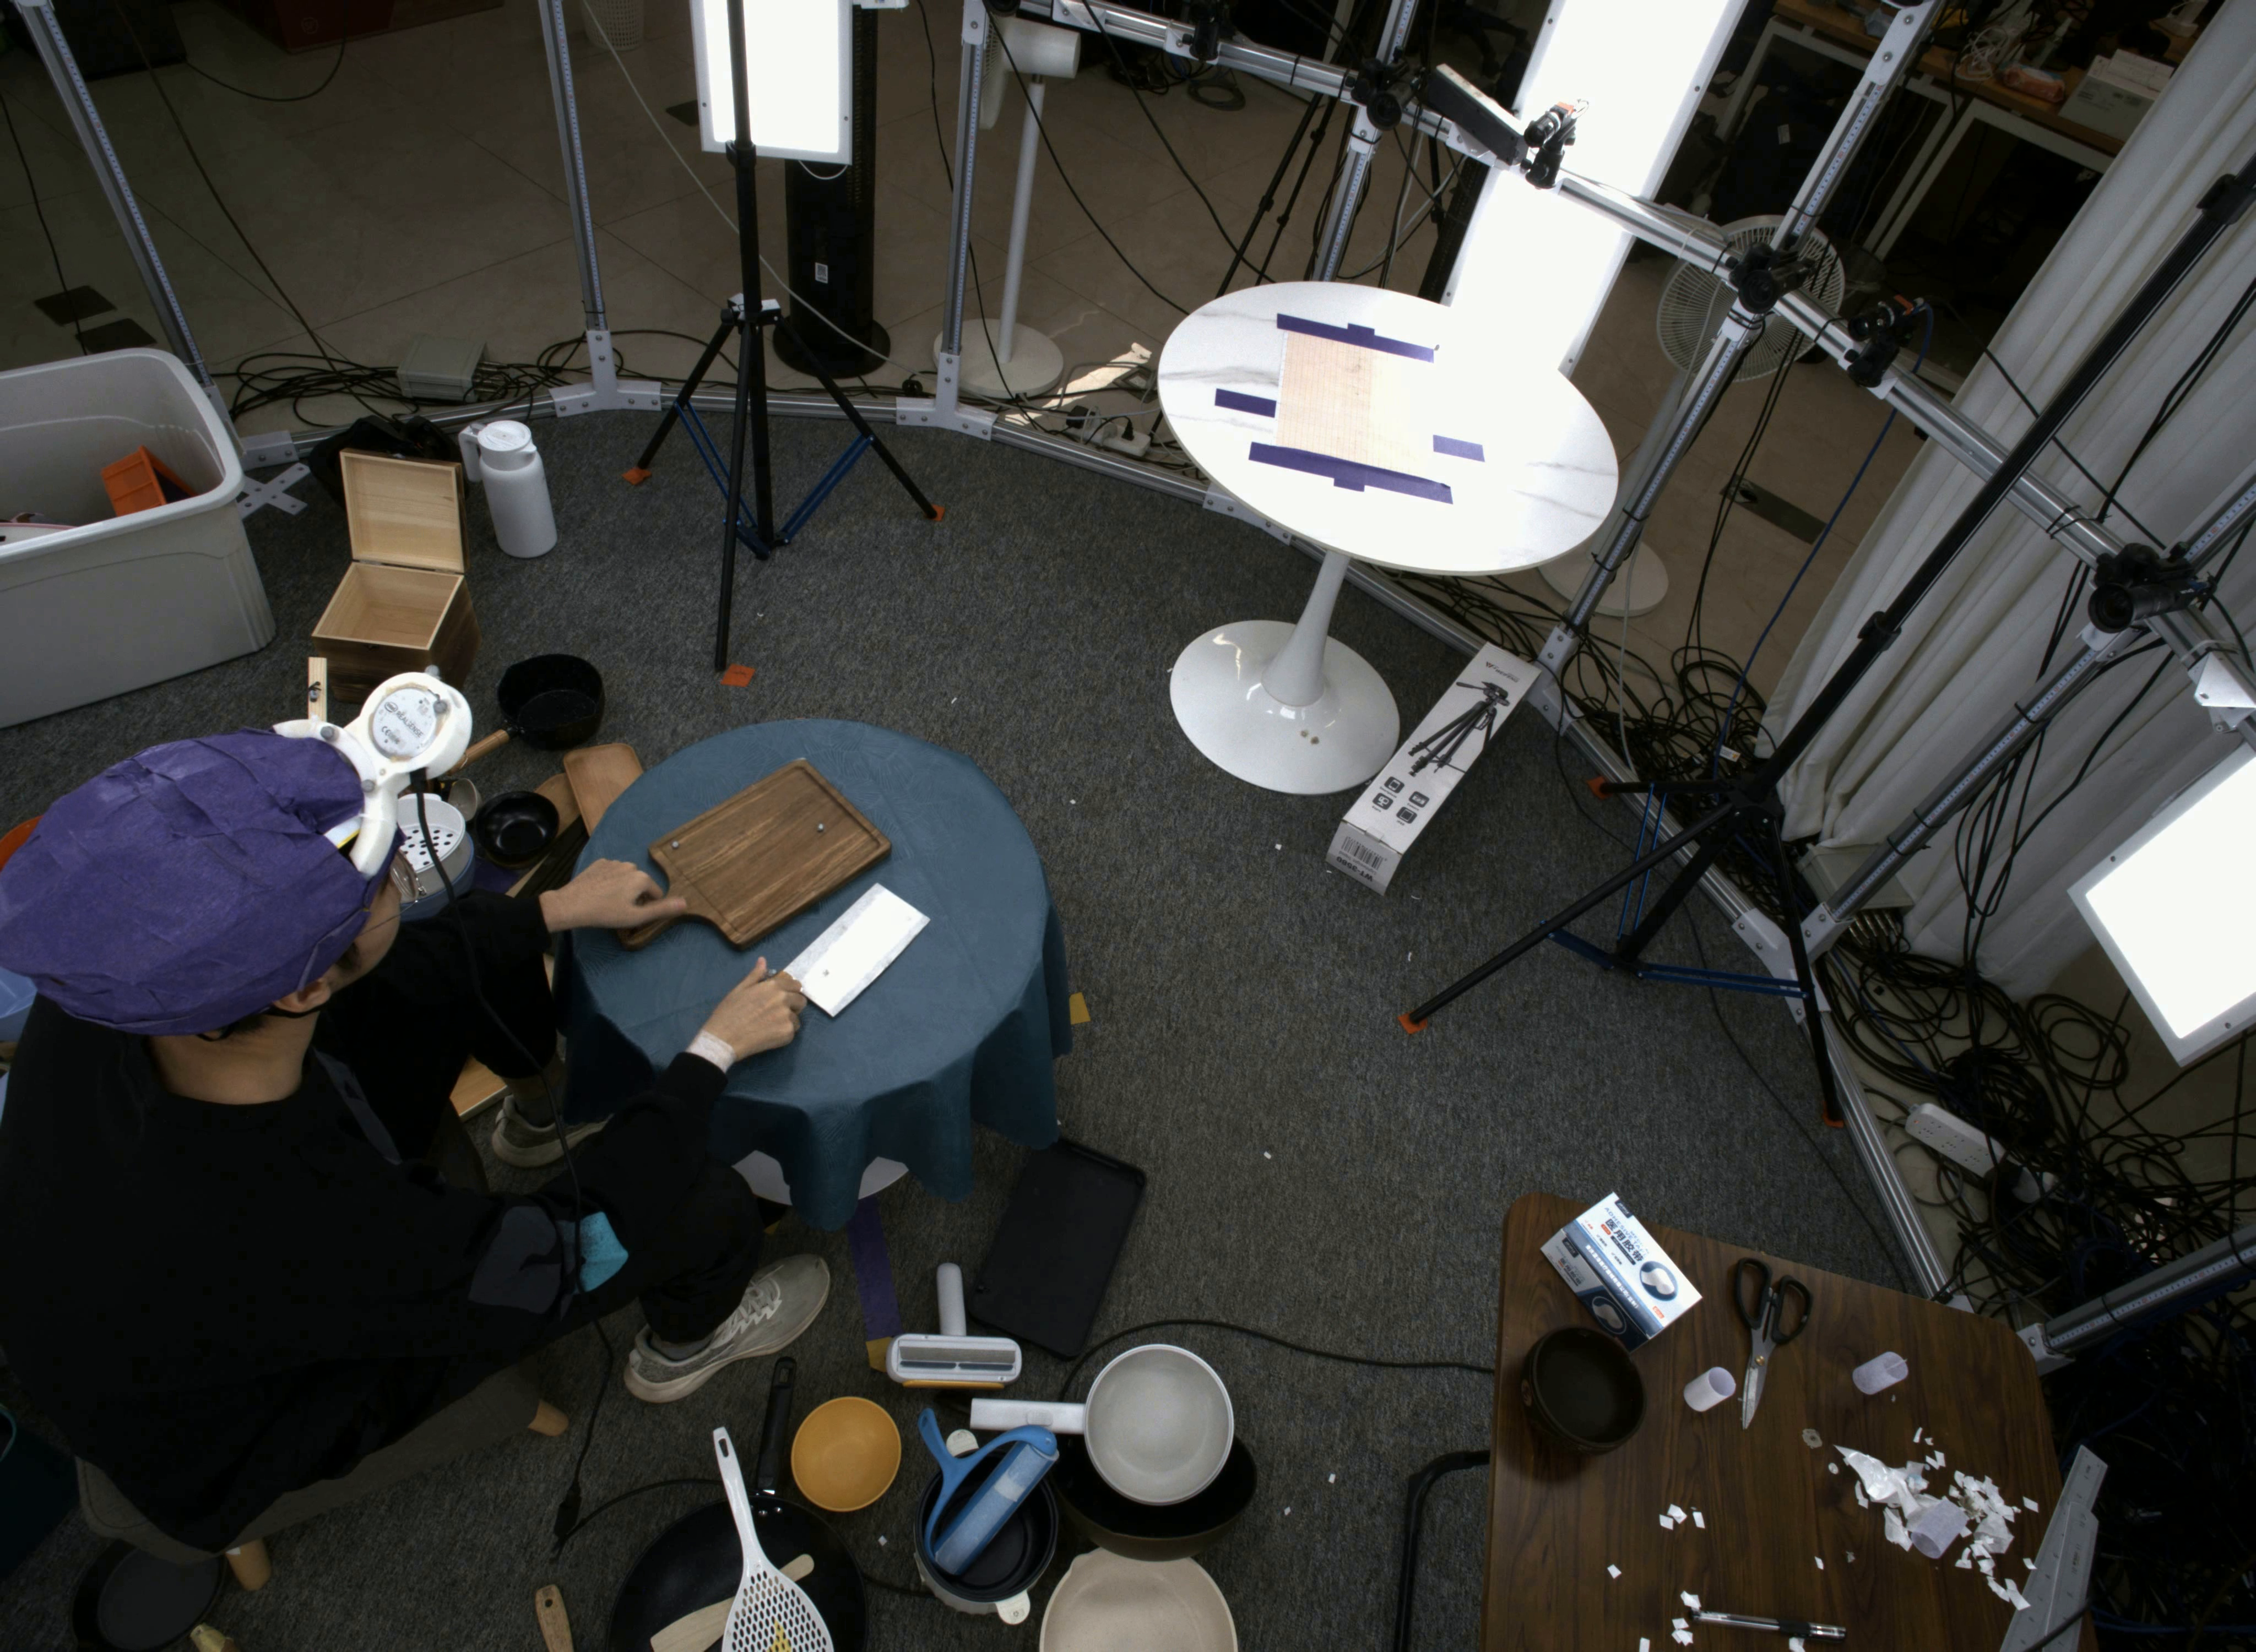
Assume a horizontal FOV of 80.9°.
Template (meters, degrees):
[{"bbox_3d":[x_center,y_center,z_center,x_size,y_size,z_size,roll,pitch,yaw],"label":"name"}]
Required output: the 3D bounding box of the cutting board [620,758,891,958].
[{"bbox_3d":[-0.494,0.055,1.640,0.197,0.023,0.353,41,55,16],"label":"cutting board"}]

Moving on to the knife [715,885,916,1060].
[{"bbox_3d":[-0.370,0.183,1.581,0.091,0.021,0.305,34,50,9],"label":"knife"}]
